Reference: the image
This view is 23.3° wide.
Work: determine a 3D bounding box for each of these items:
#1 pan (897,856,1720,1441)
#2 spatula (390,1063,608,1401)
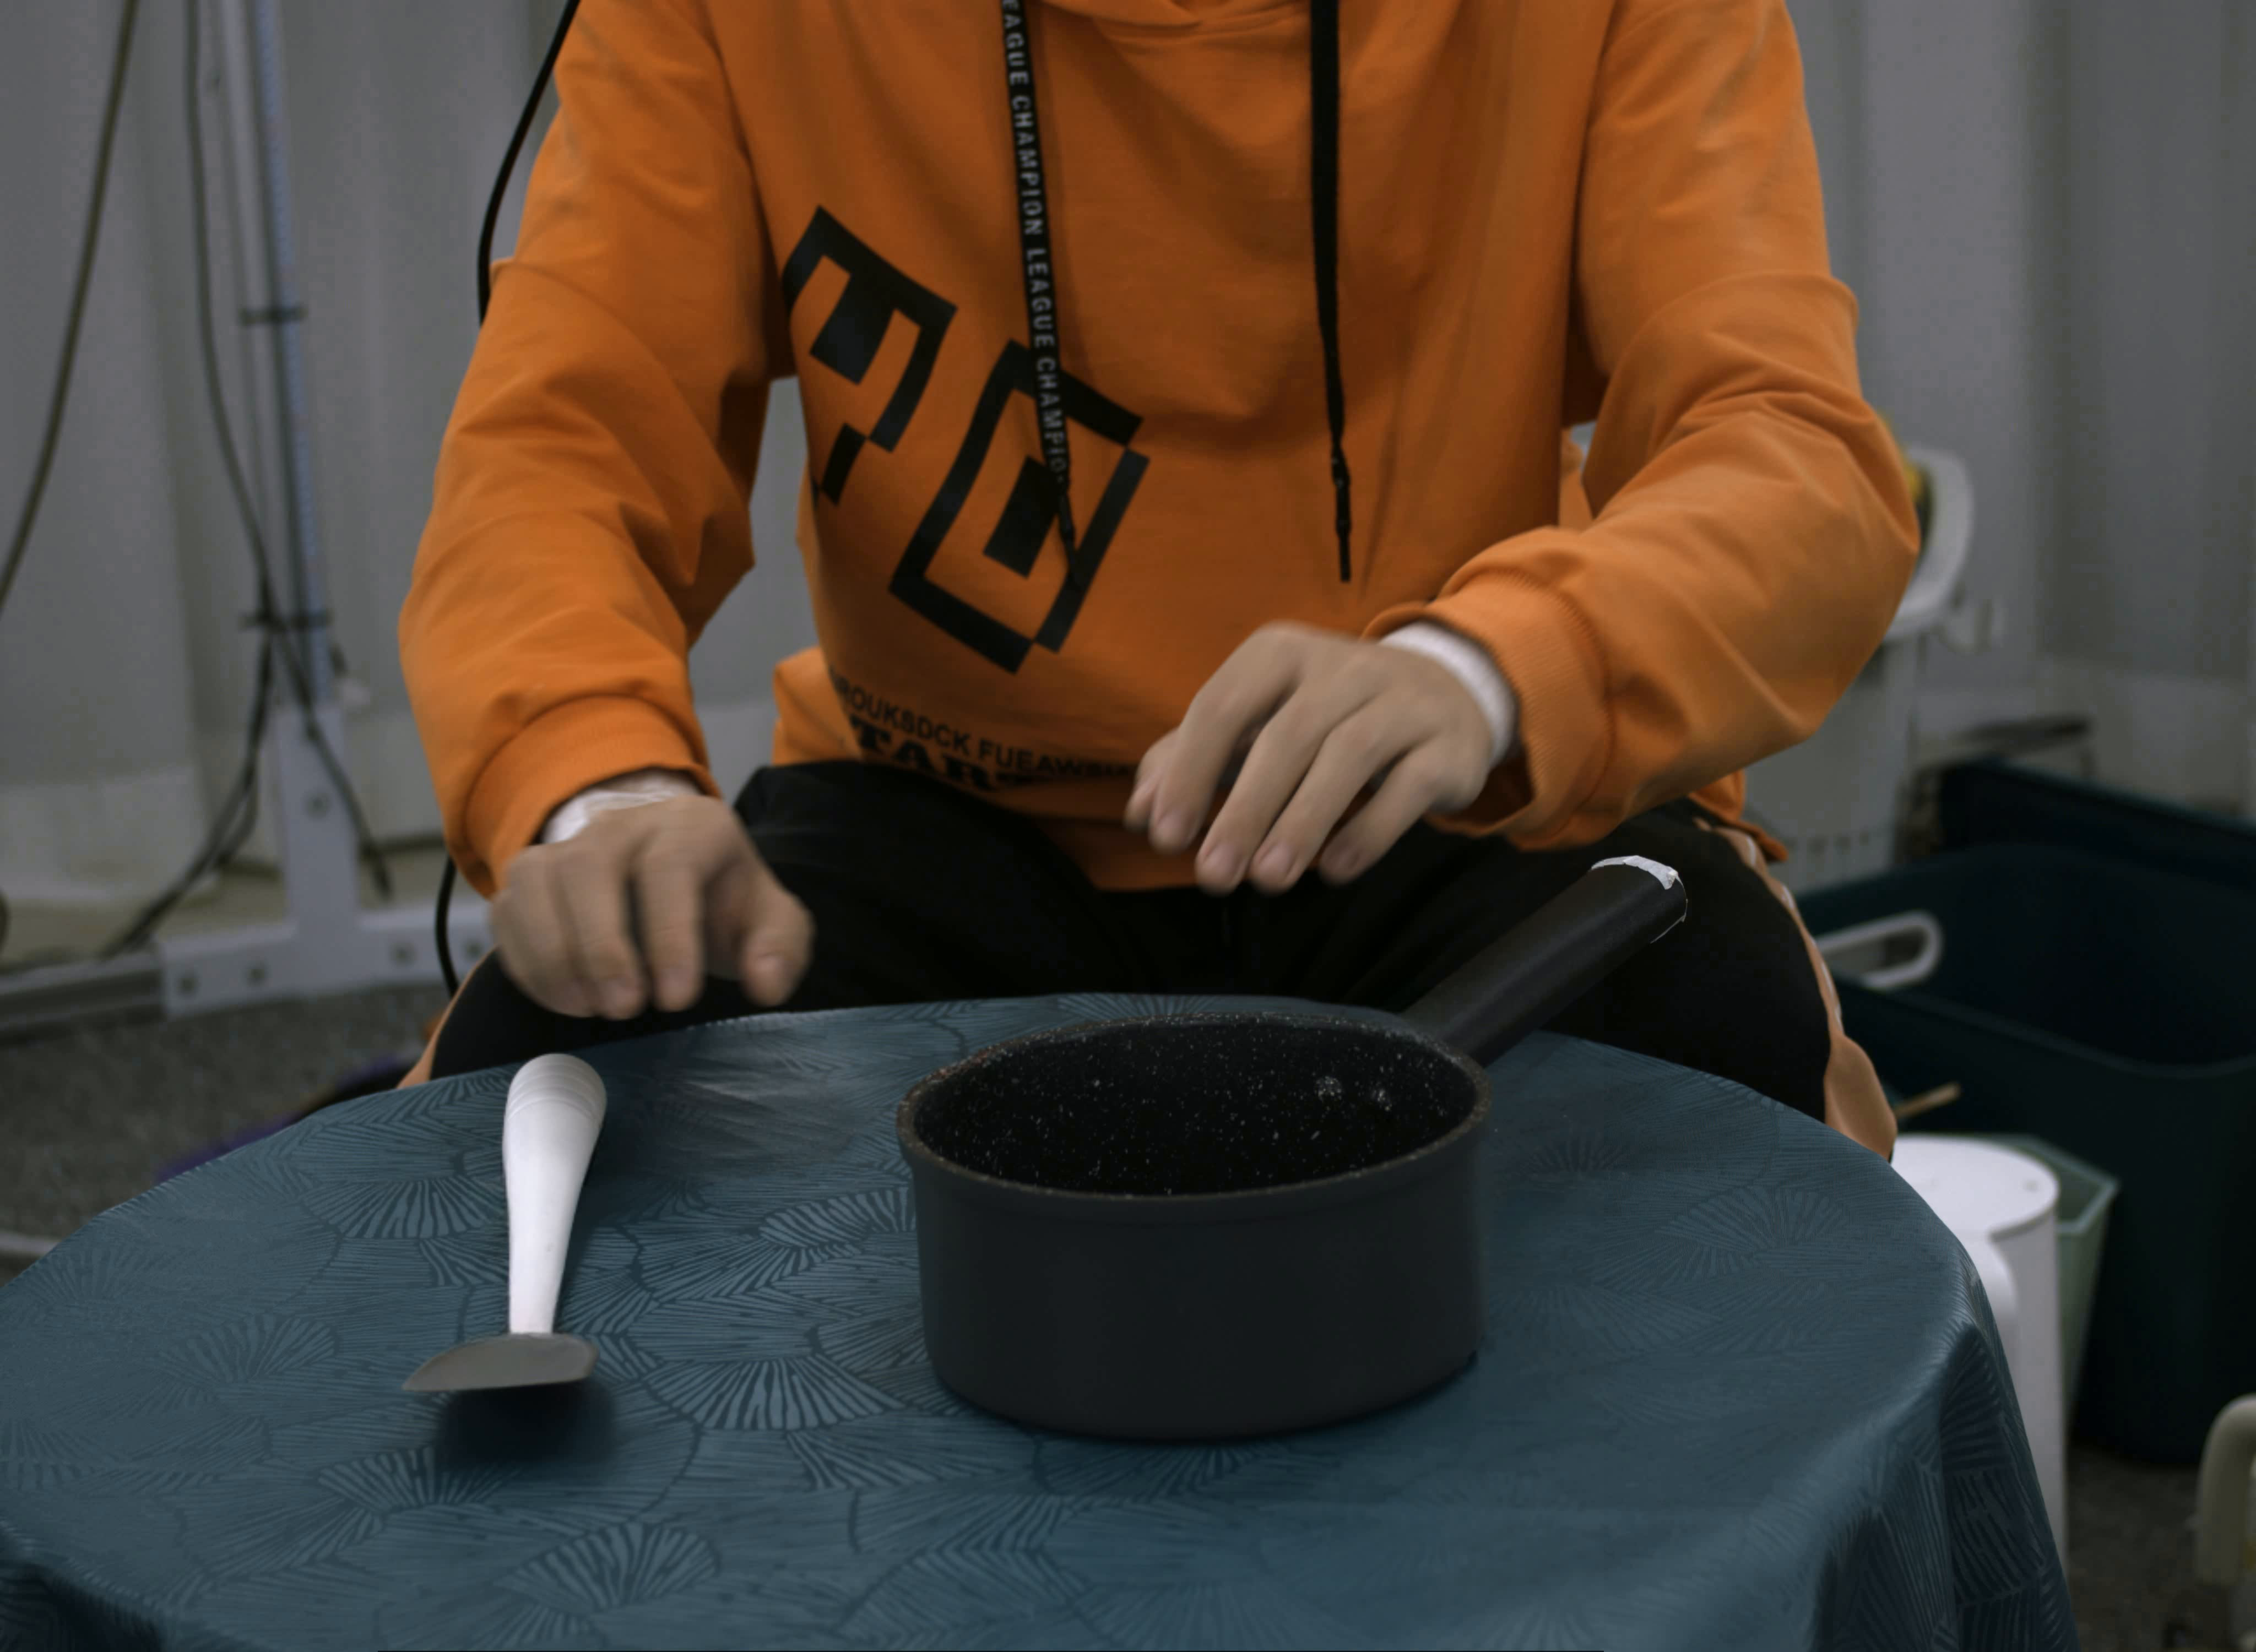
[{"bbox_3d":[0.071,0.092,1.624,0.173,0.086,0.328,11,22,39],"label":"pan"},{"bbox_3d":[-0.180,0.128,1.641,0.058,0.032,0.289,0,14,-2],"label":"spatula"}]
